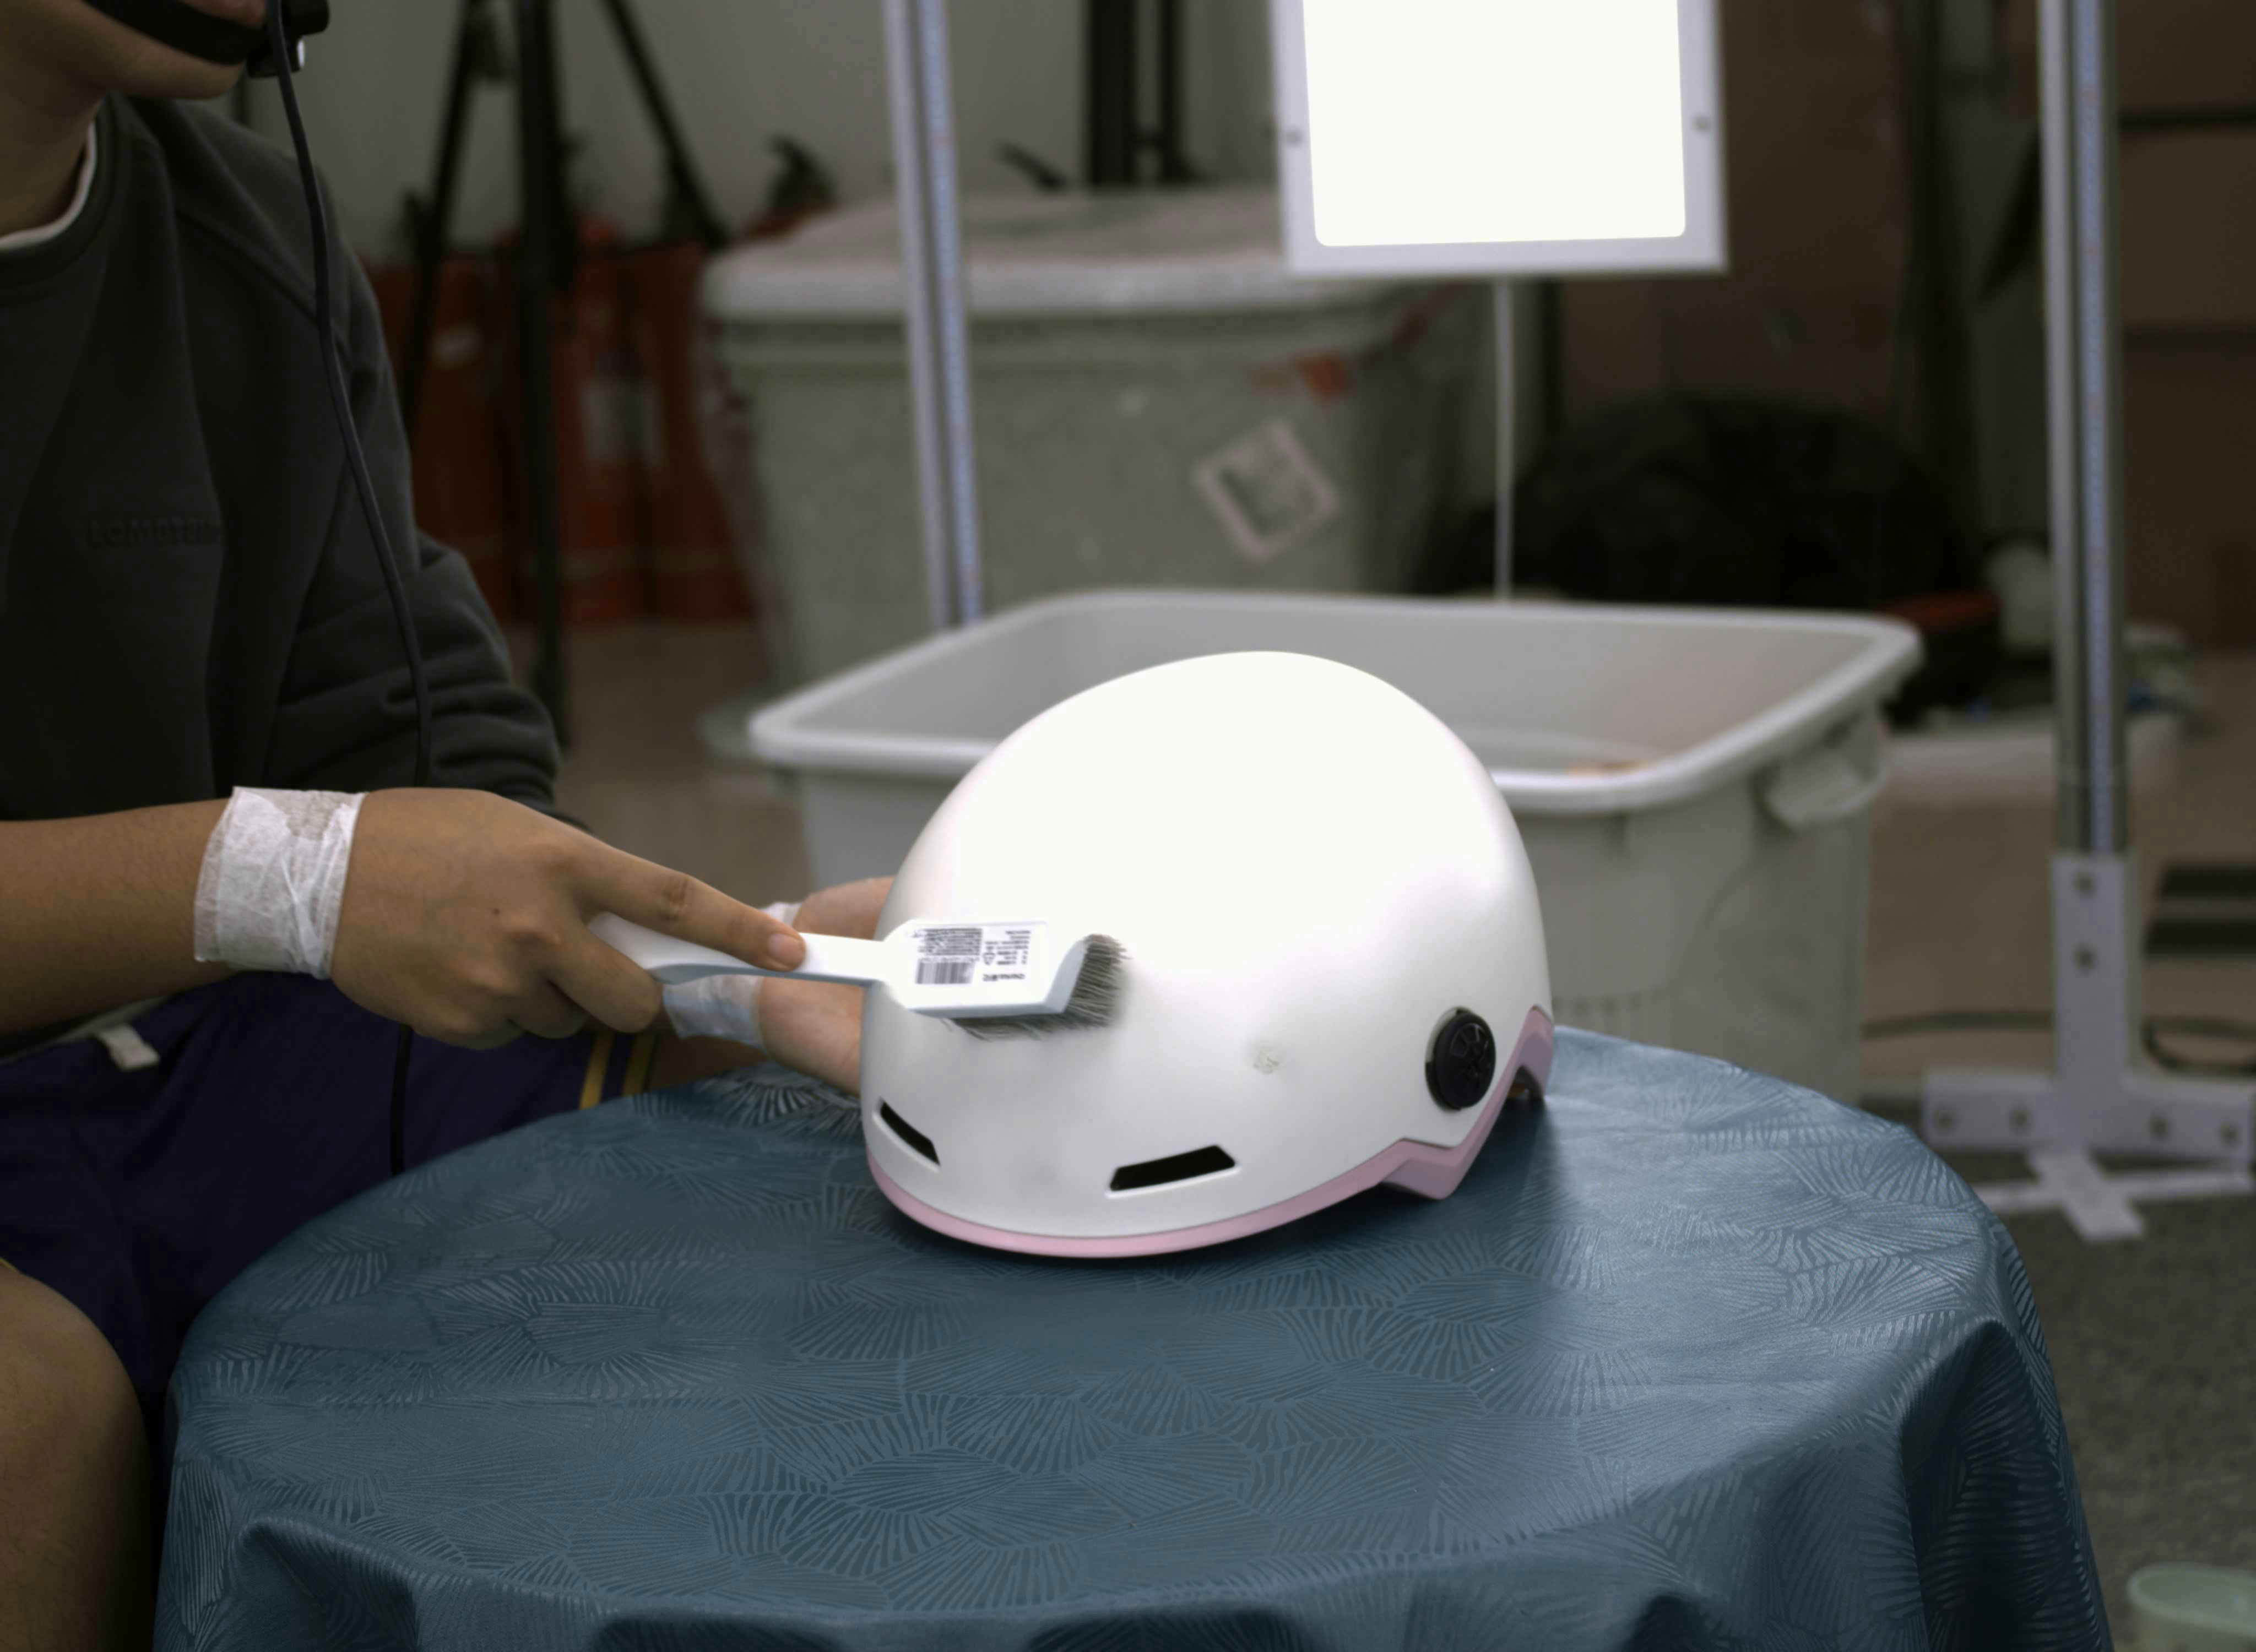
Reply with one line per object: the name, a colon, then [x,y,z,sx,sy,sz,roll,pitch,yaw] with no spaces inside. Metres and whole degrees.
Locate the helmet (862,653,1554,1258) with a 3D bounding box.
helmet: [0.027,0.032,1.912,0.241,0.168,0.262,7,18,32]

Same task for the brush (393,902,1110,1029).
brush: [-0.124,0.045,1.824,0.246,0.034,0.049,0,-17,19]
